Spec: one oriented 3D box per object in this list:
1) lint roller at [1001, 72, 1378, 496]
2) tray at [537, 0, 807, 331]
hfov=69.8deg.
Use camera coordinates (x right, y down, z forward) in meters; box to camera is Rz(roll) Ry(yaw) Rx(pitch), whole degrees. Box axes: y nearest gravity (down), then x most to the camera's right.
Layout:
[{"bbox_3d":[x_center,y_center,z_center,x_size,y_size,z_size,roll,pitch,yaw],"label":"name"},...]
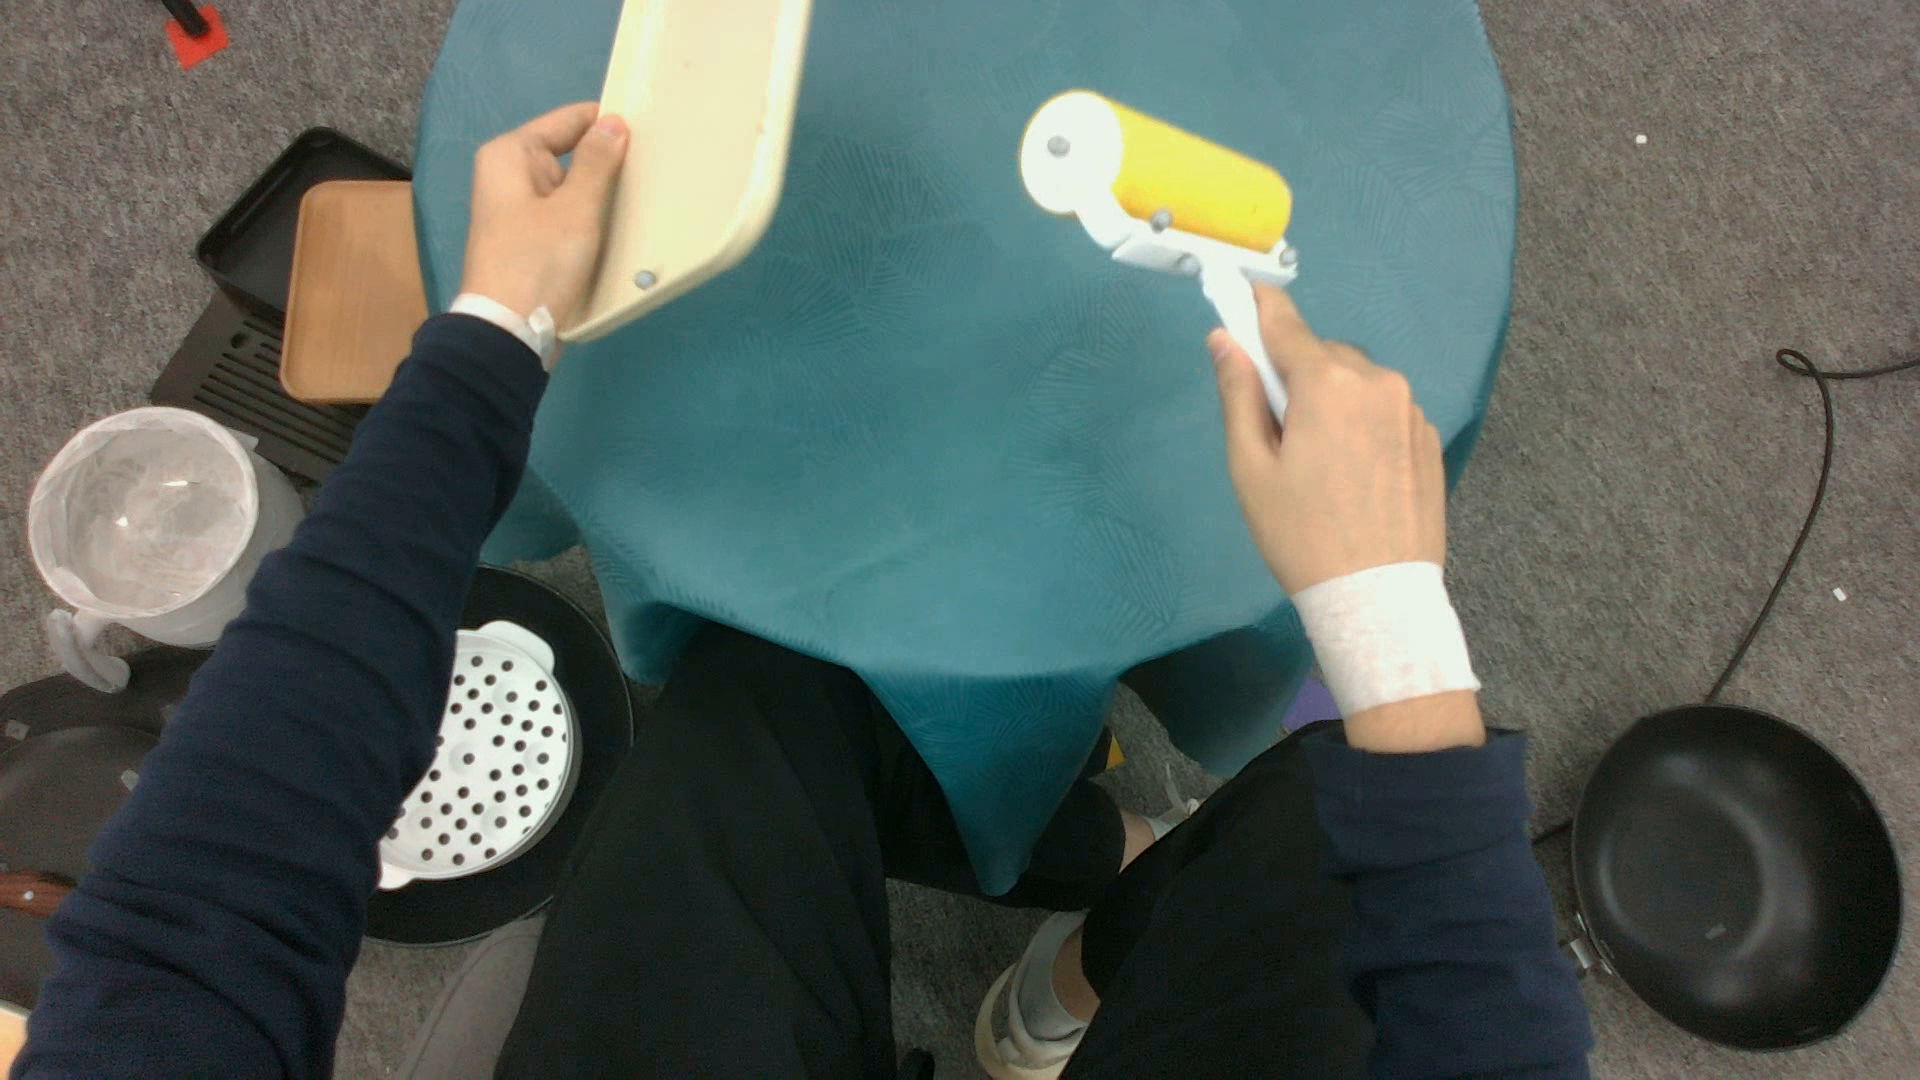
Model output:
[{"bbox_3d":[0.121,-0.106,0.570,0.051,0.175,0.192,-47,69,28],"label":"lint roller"},{"bbox_3d":[-0.117,-0.211,0.600,0.017,0.170,0.240,23,66,-38],"label":"tray"}]
